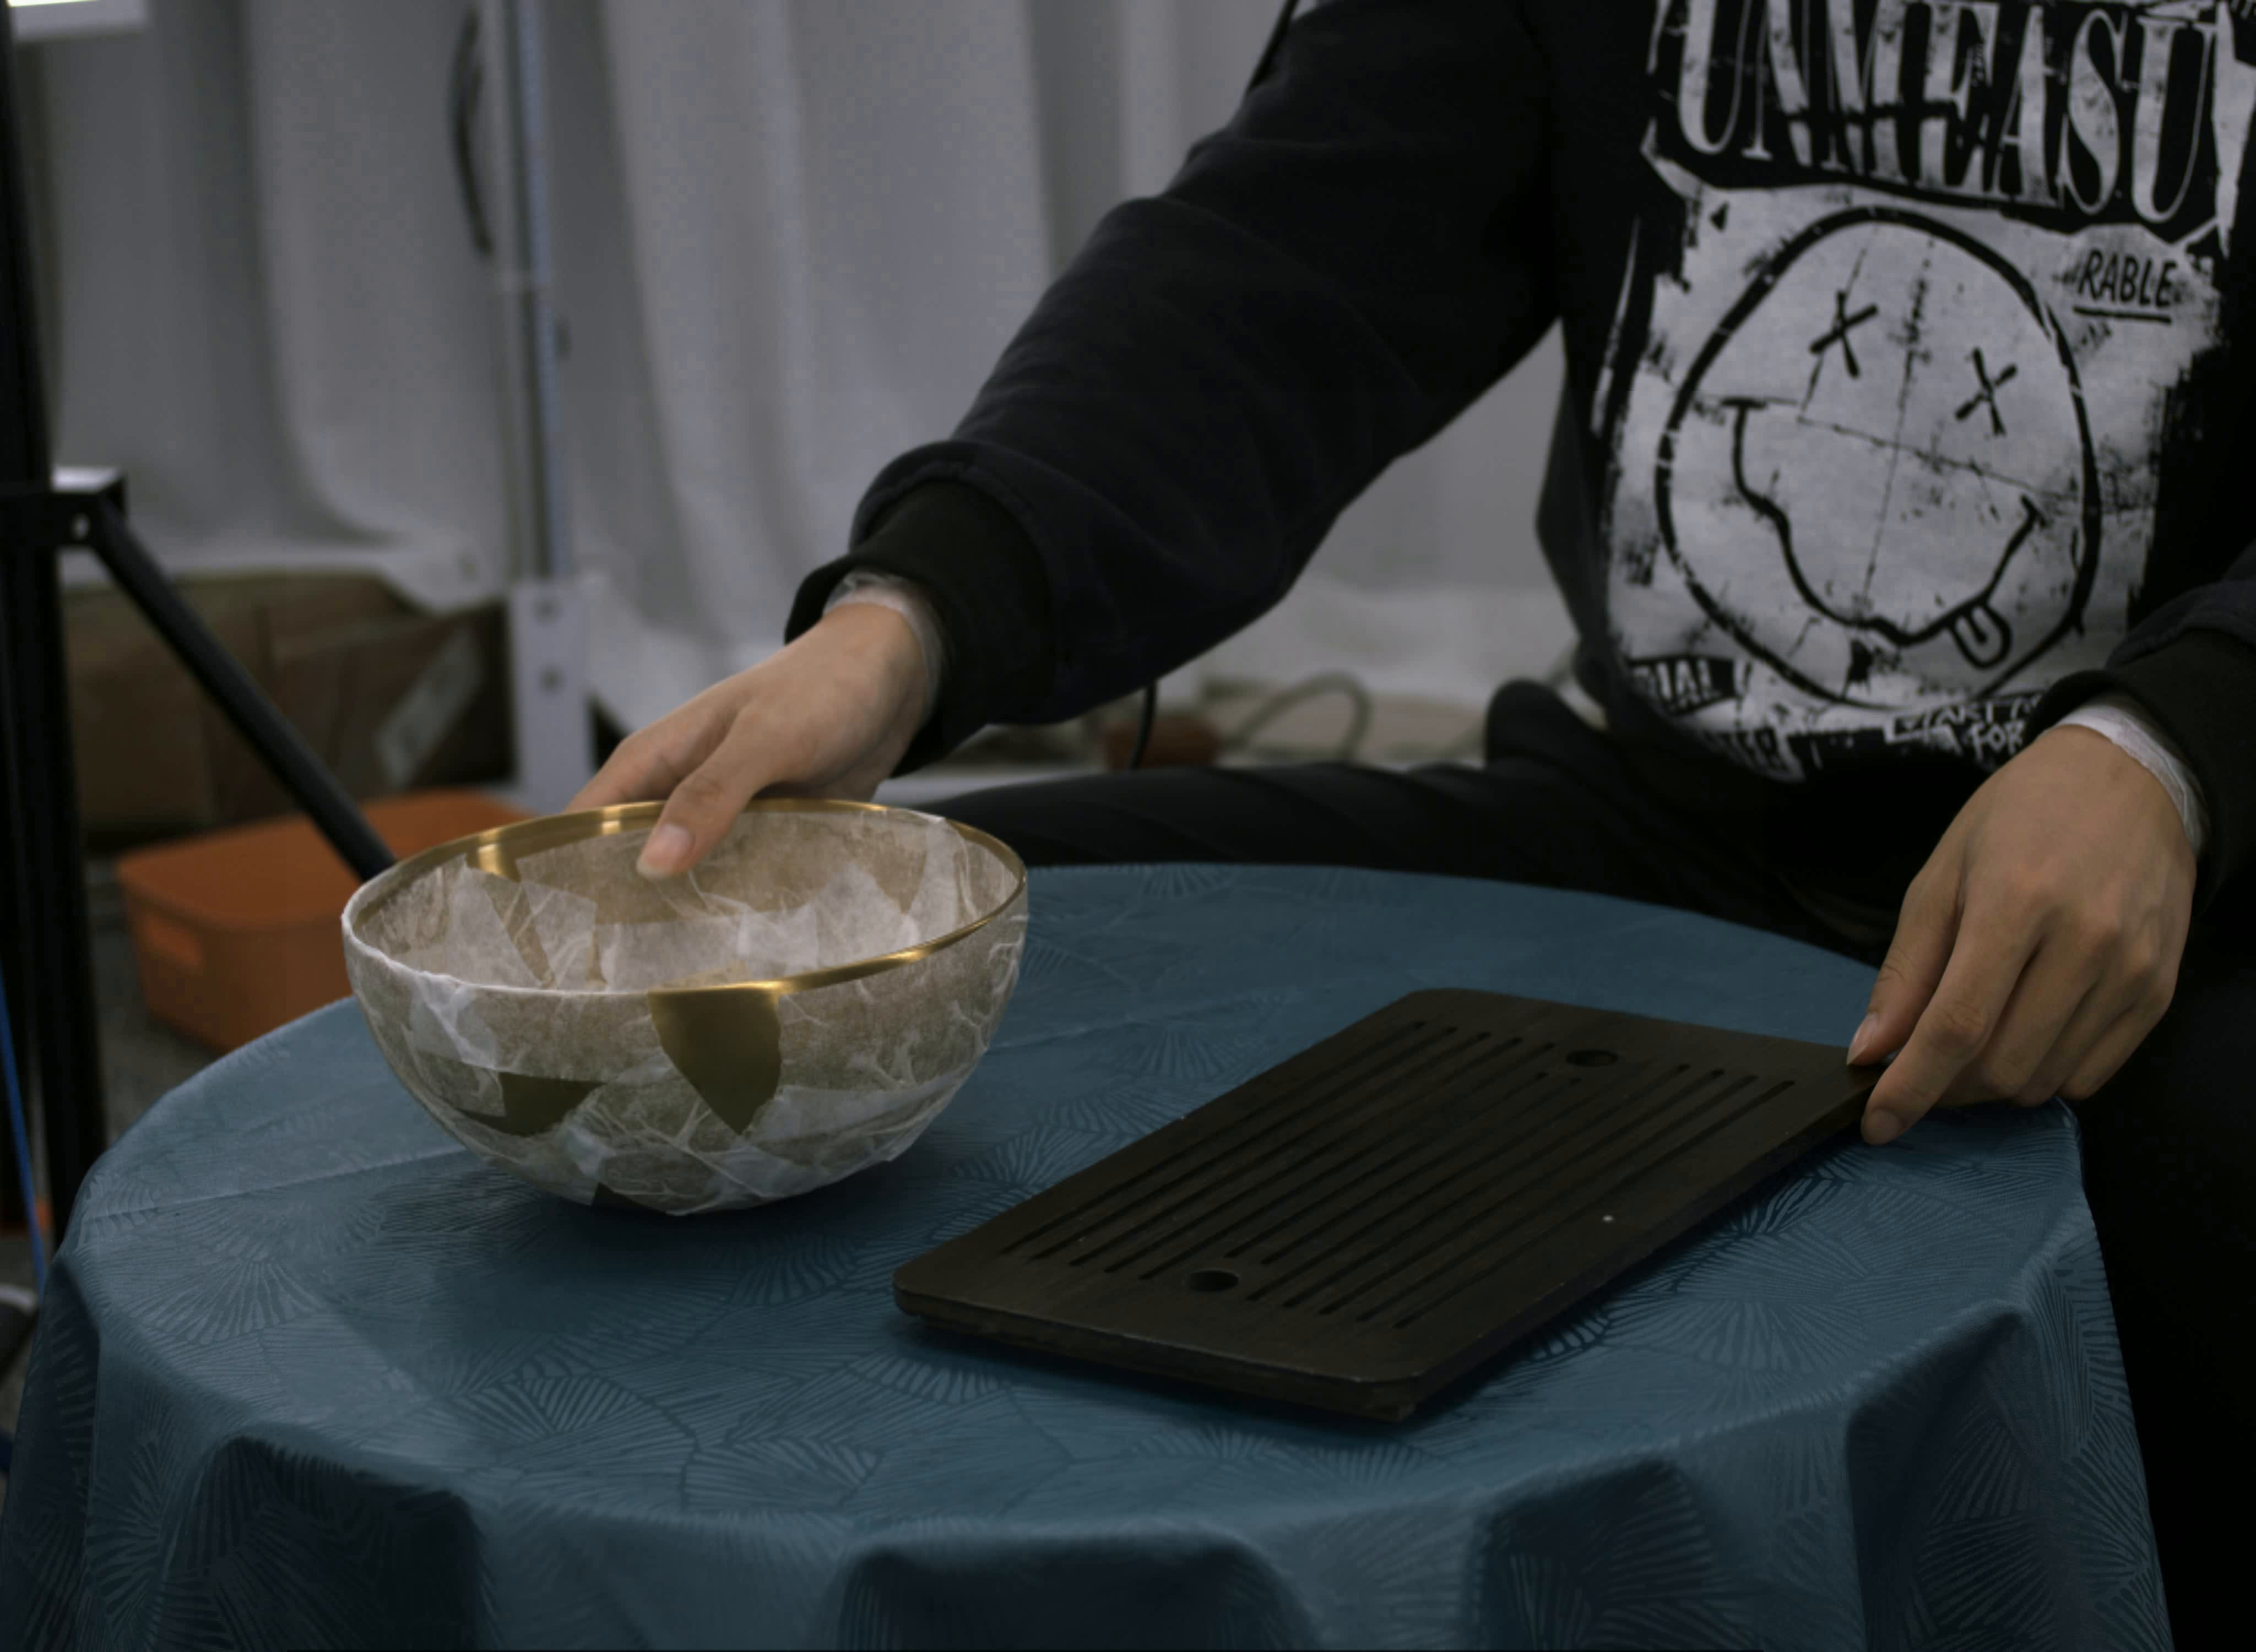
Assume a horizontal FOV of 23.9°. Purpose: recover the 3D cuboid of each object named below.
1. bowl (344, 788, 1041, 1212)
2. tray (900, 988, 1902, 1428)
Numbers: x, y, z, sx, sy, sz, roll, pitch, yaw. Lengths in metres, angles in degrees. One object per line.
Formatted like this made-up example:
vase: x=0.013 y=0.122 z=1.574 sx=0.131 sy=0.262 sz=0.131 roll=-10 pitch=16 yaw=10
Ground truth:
bowl: x=-0.123 y=0.060 z=1.578 sx=0.213 sy=0.094 sz=0.216 roll=-4 pitch=15 yaw=0
tray: x=0.085 y=0.106 z=1.519 sx=0.173 sy=0.018 sz=0.300 roll=8 pitch=19 yaw=33
